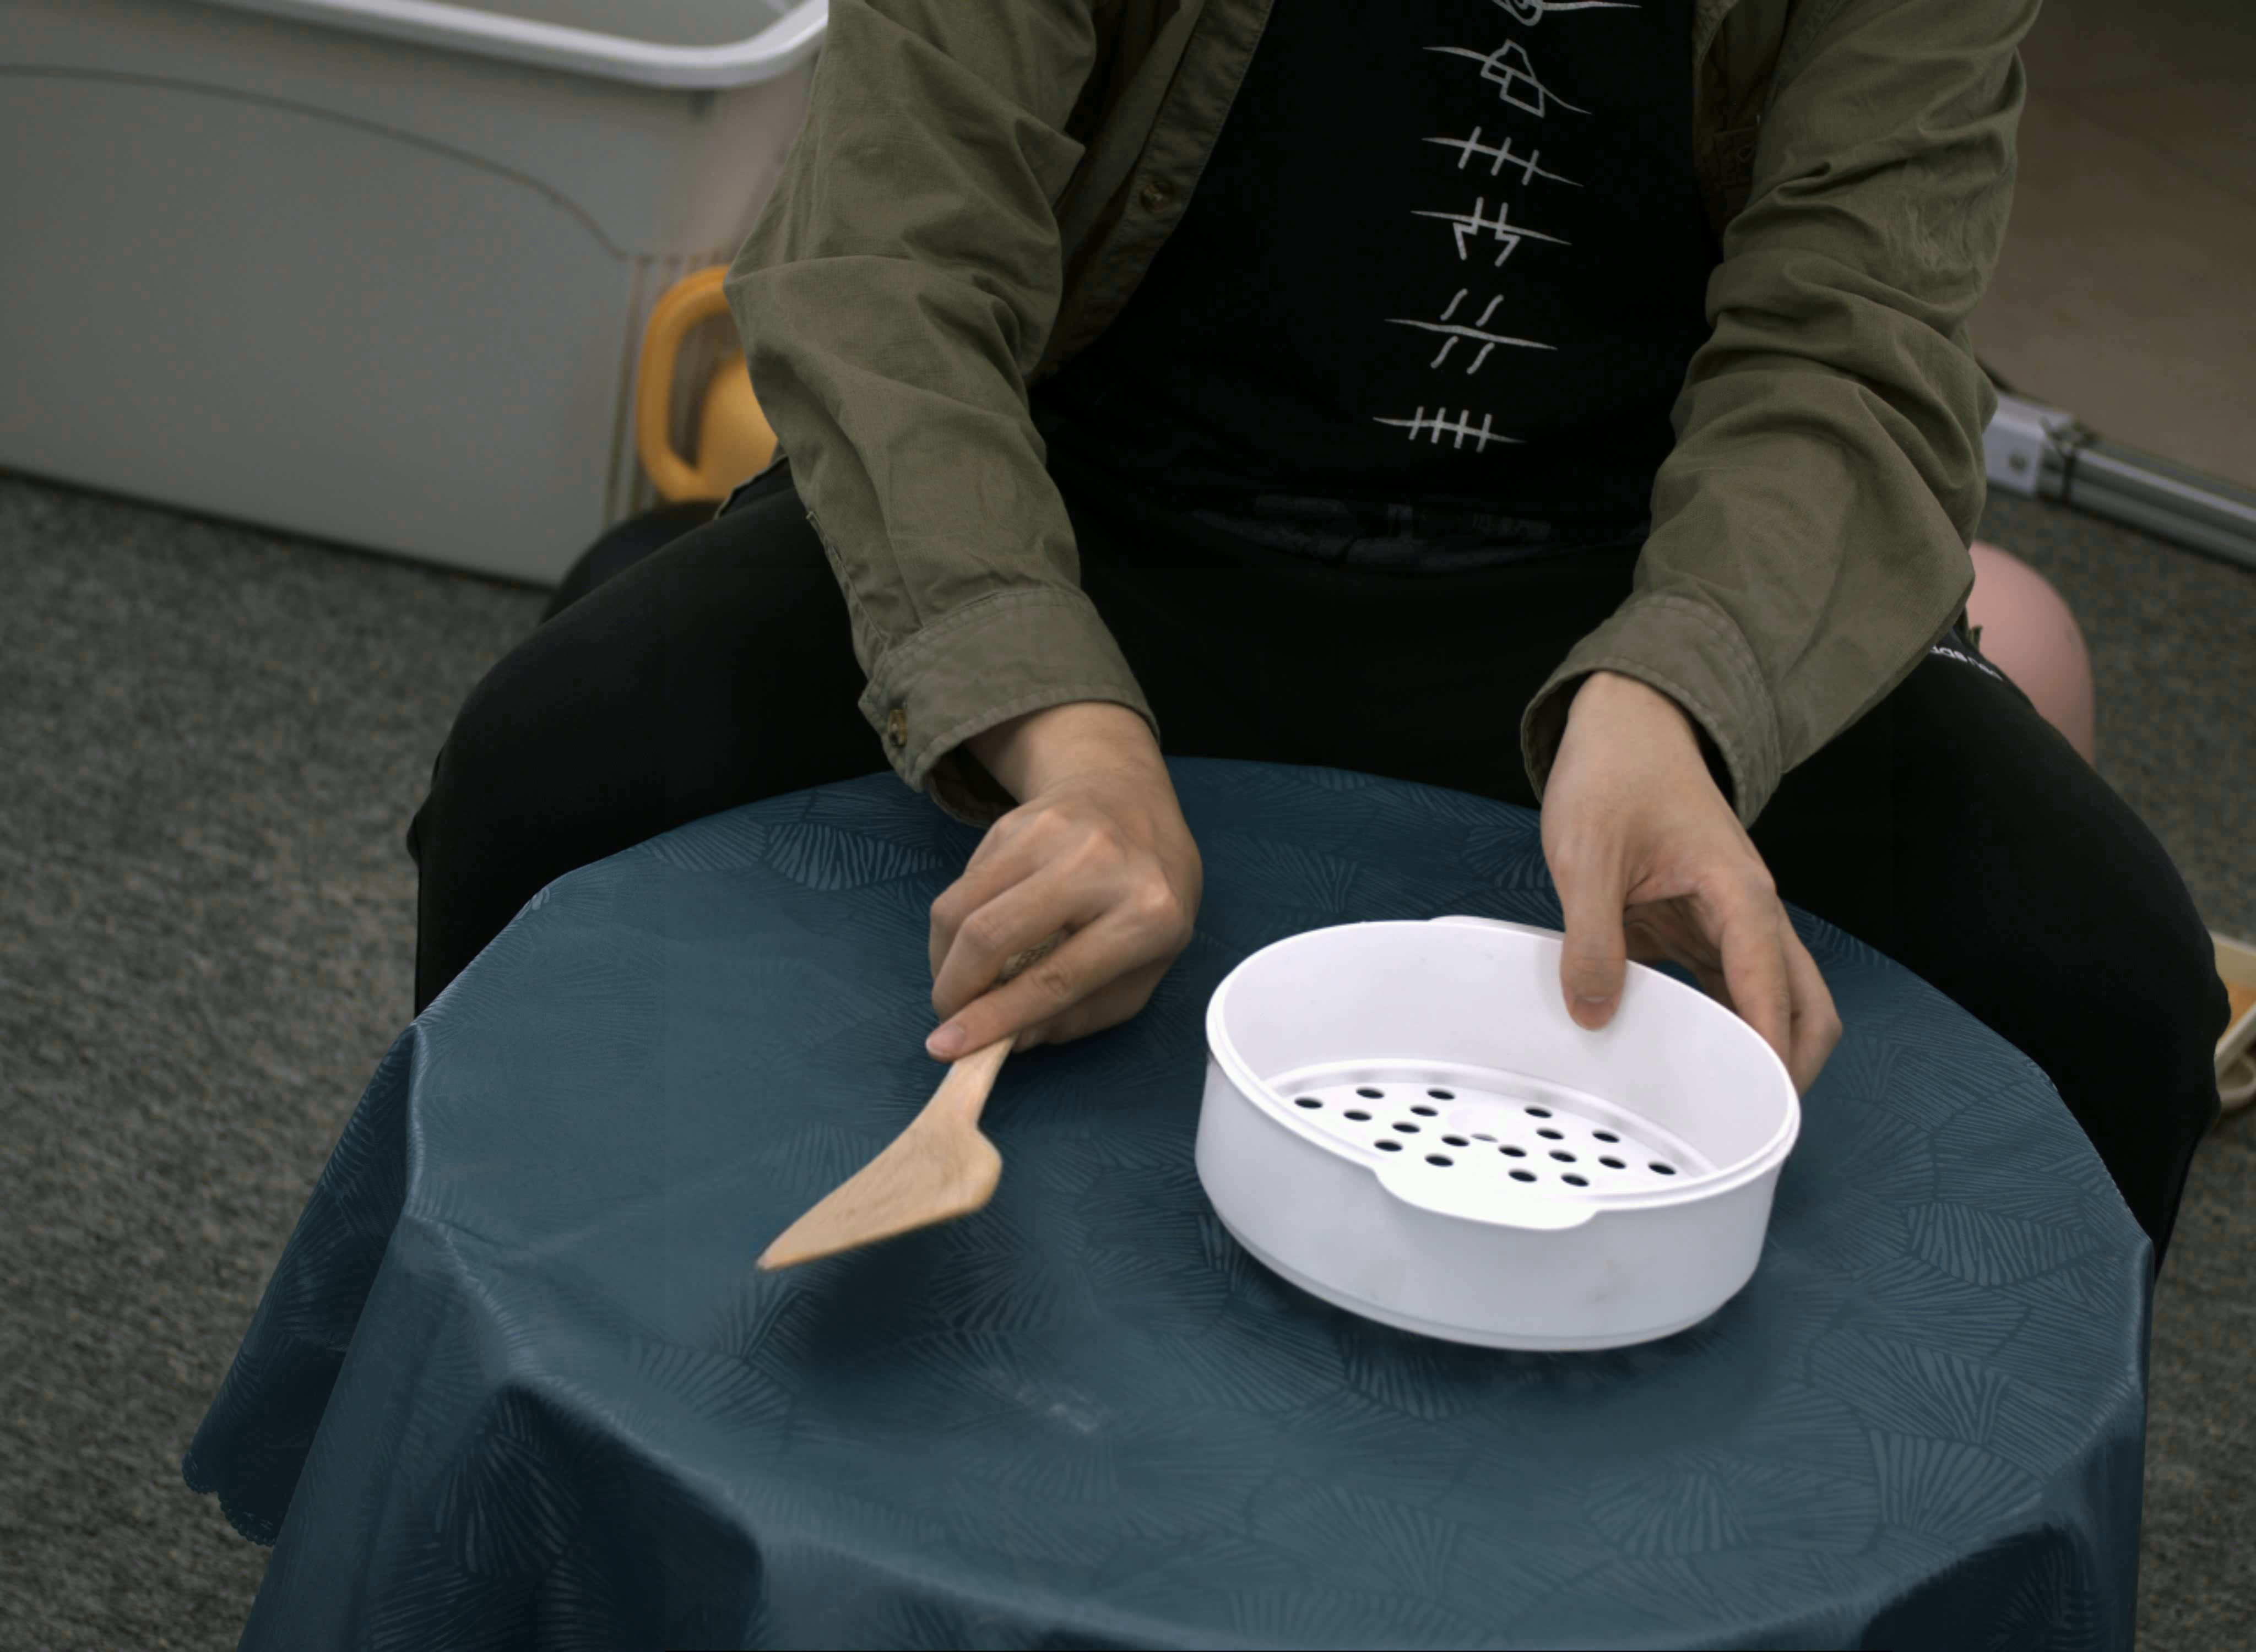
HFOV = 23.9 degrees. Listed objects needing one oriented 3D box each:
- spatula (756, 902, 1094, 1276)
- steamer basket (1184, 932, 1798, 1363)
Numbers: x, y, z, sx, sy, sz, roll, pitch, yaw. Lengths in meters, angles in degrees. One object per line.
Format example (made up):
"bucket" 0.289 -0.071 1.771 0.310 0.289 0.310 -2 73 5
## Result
"spatula" -0.052 0.083 1.809 0.080 0.016 0.328 -15 16 16
"steamer basket" 0.119 0.108 1.777 0.201 0.069 0.231 11 23 3
